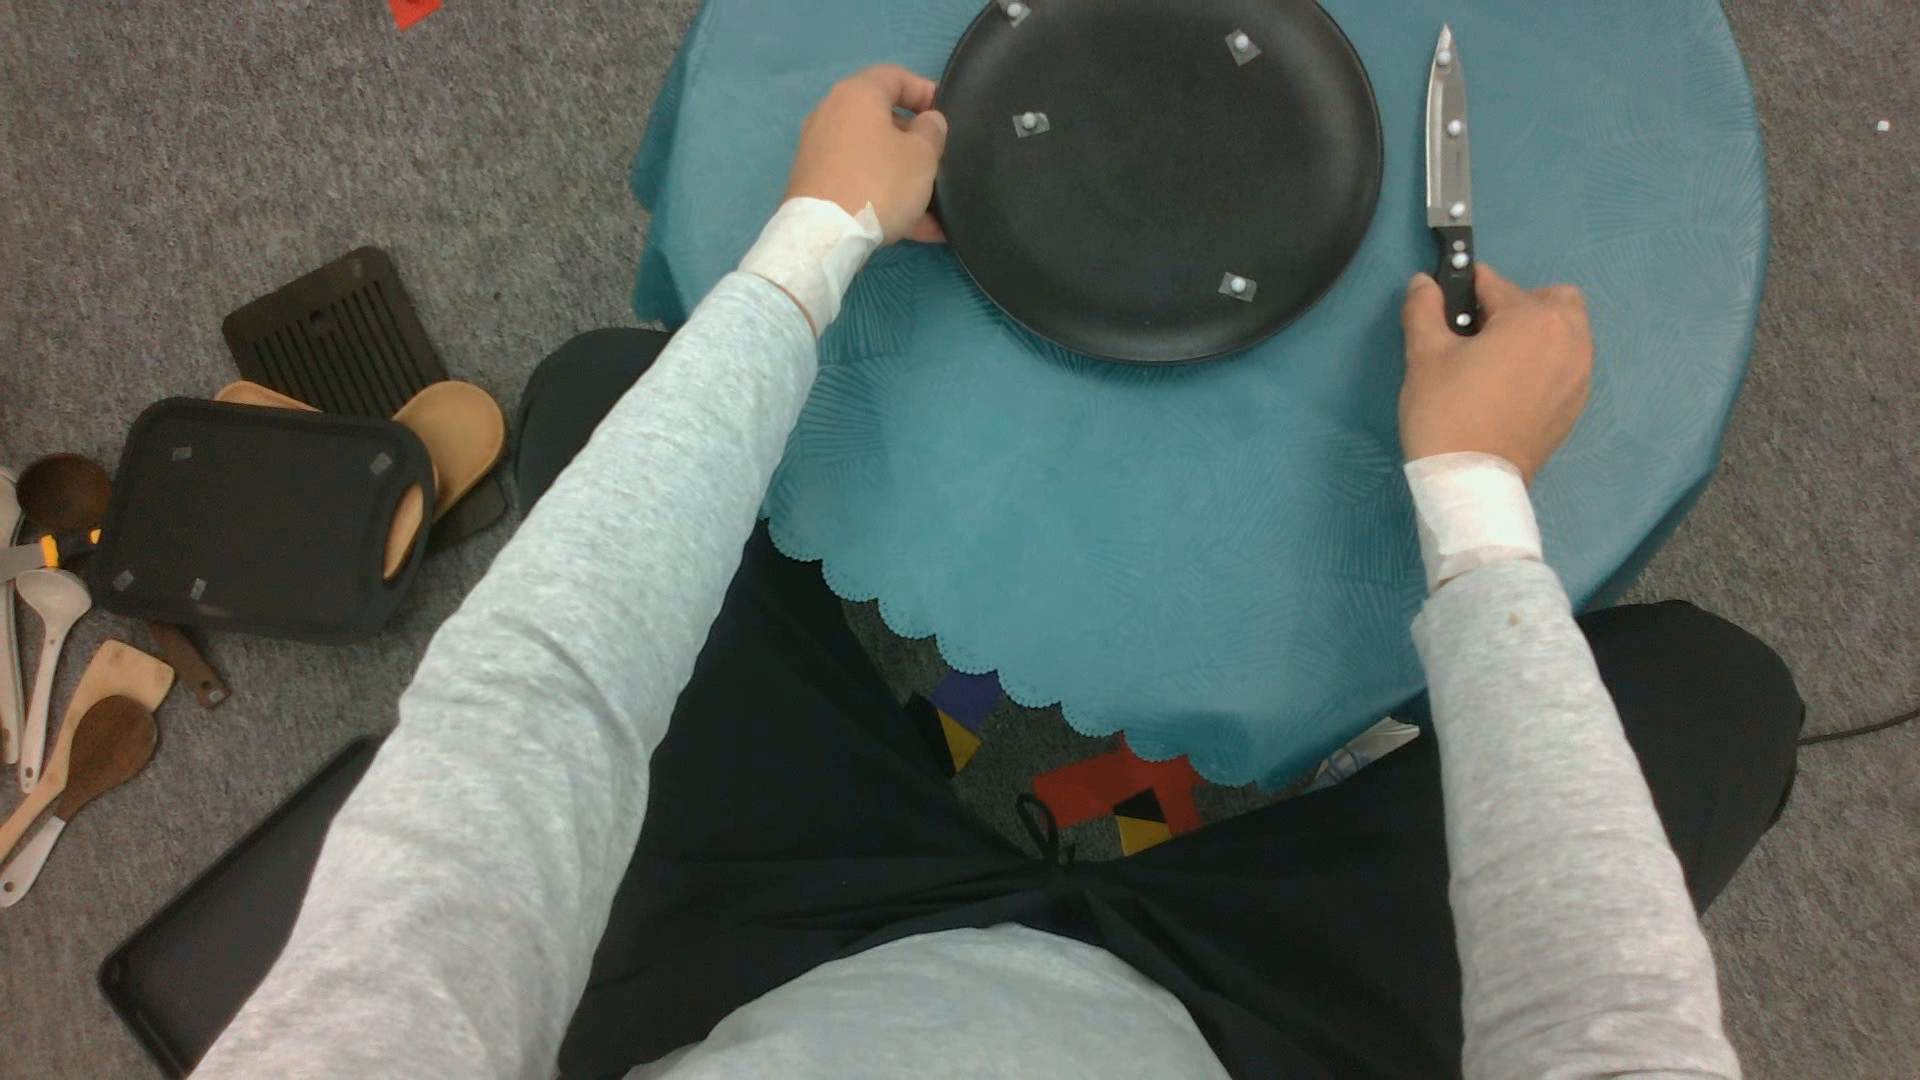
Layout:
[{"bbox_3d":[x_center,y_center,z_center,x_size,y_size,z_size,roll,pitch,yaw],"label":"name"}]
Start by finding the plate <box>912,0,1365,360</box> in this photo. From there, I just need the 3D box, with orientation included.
[{"bbox_3d":[0.096,-0.213,0.748,0.244,0.023,0.245,0,79,1],"label":"plate"}]

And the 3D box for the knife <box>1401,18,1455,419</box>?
[{"bbox_3d":[0.251,-0.178,0.738,0.024,0.016,0.239,1,74,5],"label":"knife"}]
